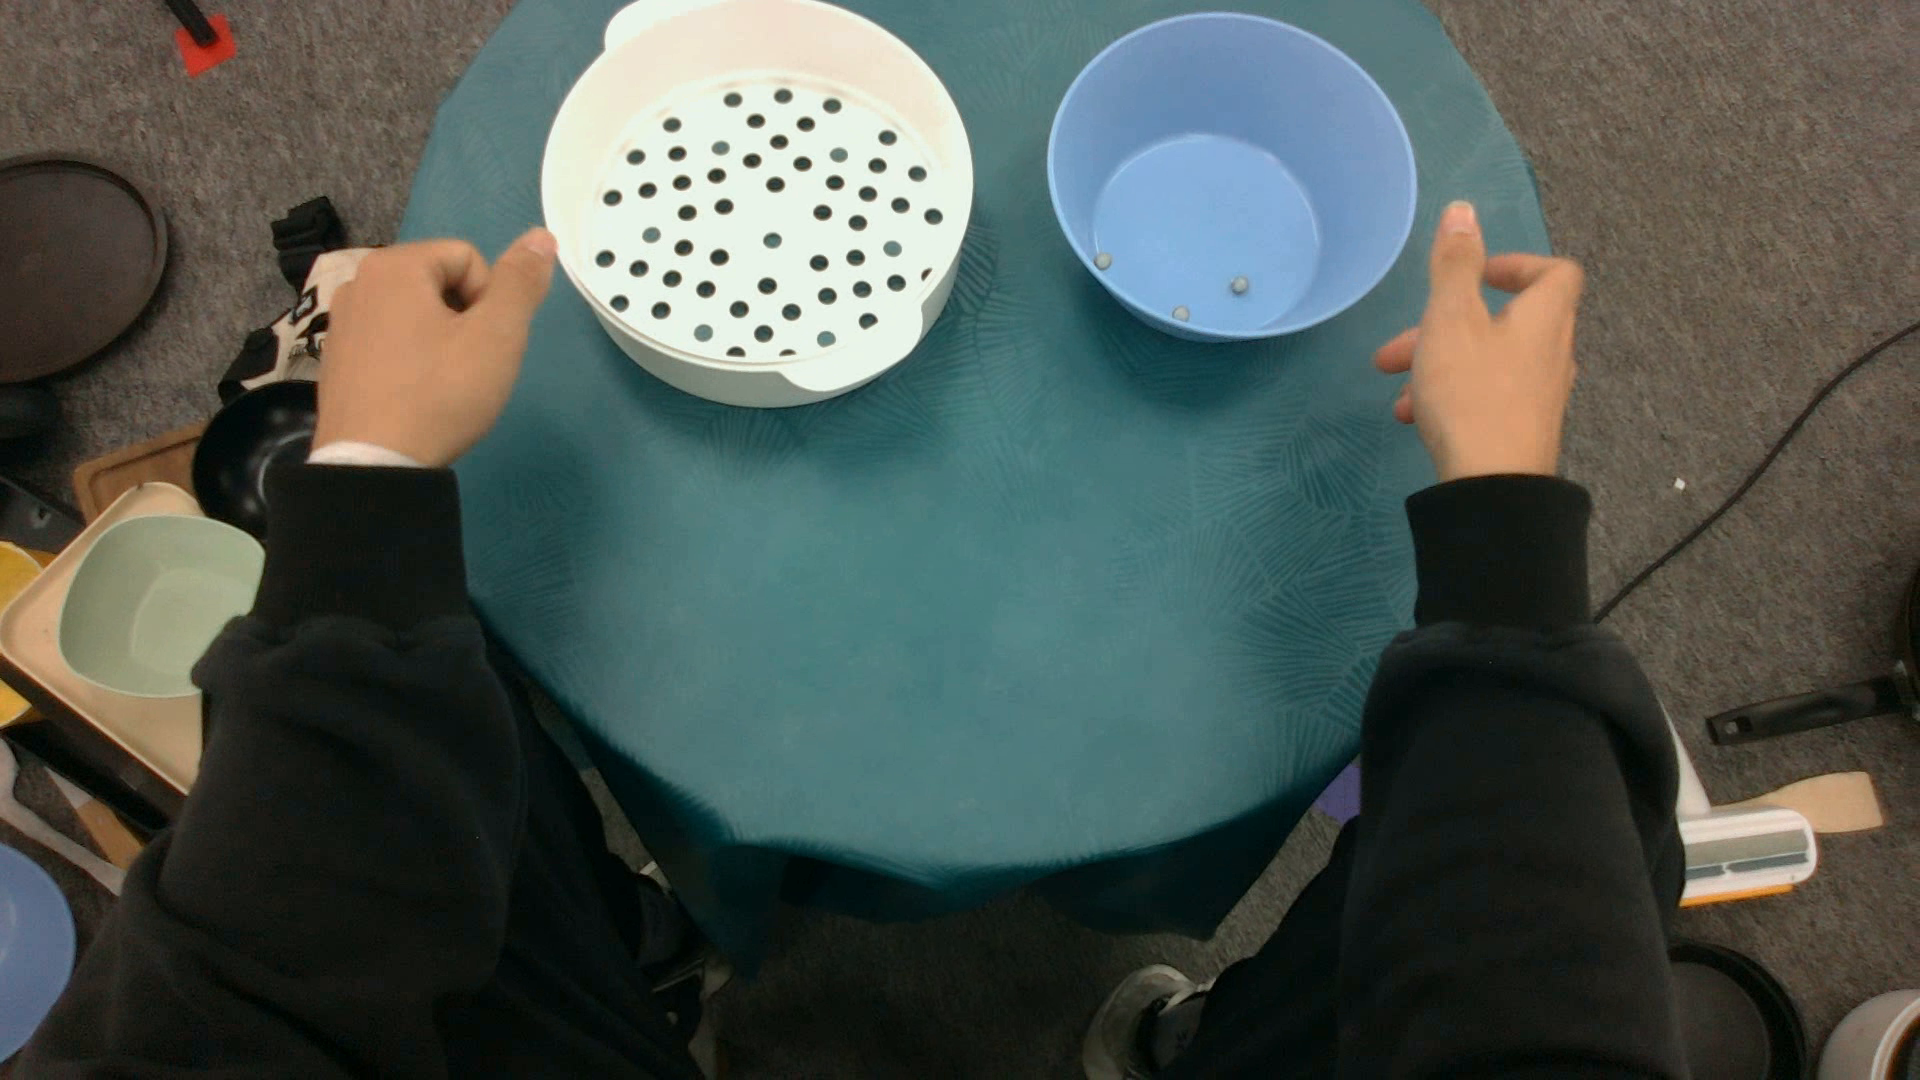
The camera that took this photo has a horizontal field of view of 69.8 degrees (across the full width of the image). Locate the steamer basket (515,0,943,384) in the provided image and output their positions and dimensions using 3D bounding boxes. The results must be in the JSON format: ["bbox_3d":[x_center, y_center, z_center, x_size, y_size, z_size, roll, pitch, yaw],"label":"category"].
[{"bbox_3d":[-0.109,-0.173,0.677,0.202,0.069,0.231,-27,73,-12],"label":"steamer basket"}]

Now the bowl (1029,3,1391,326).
[{"bbox_3d":[0.120,-0.175,0.691,0.176,0.070,0.176,1,73,-2],"label":"bowl"}]
